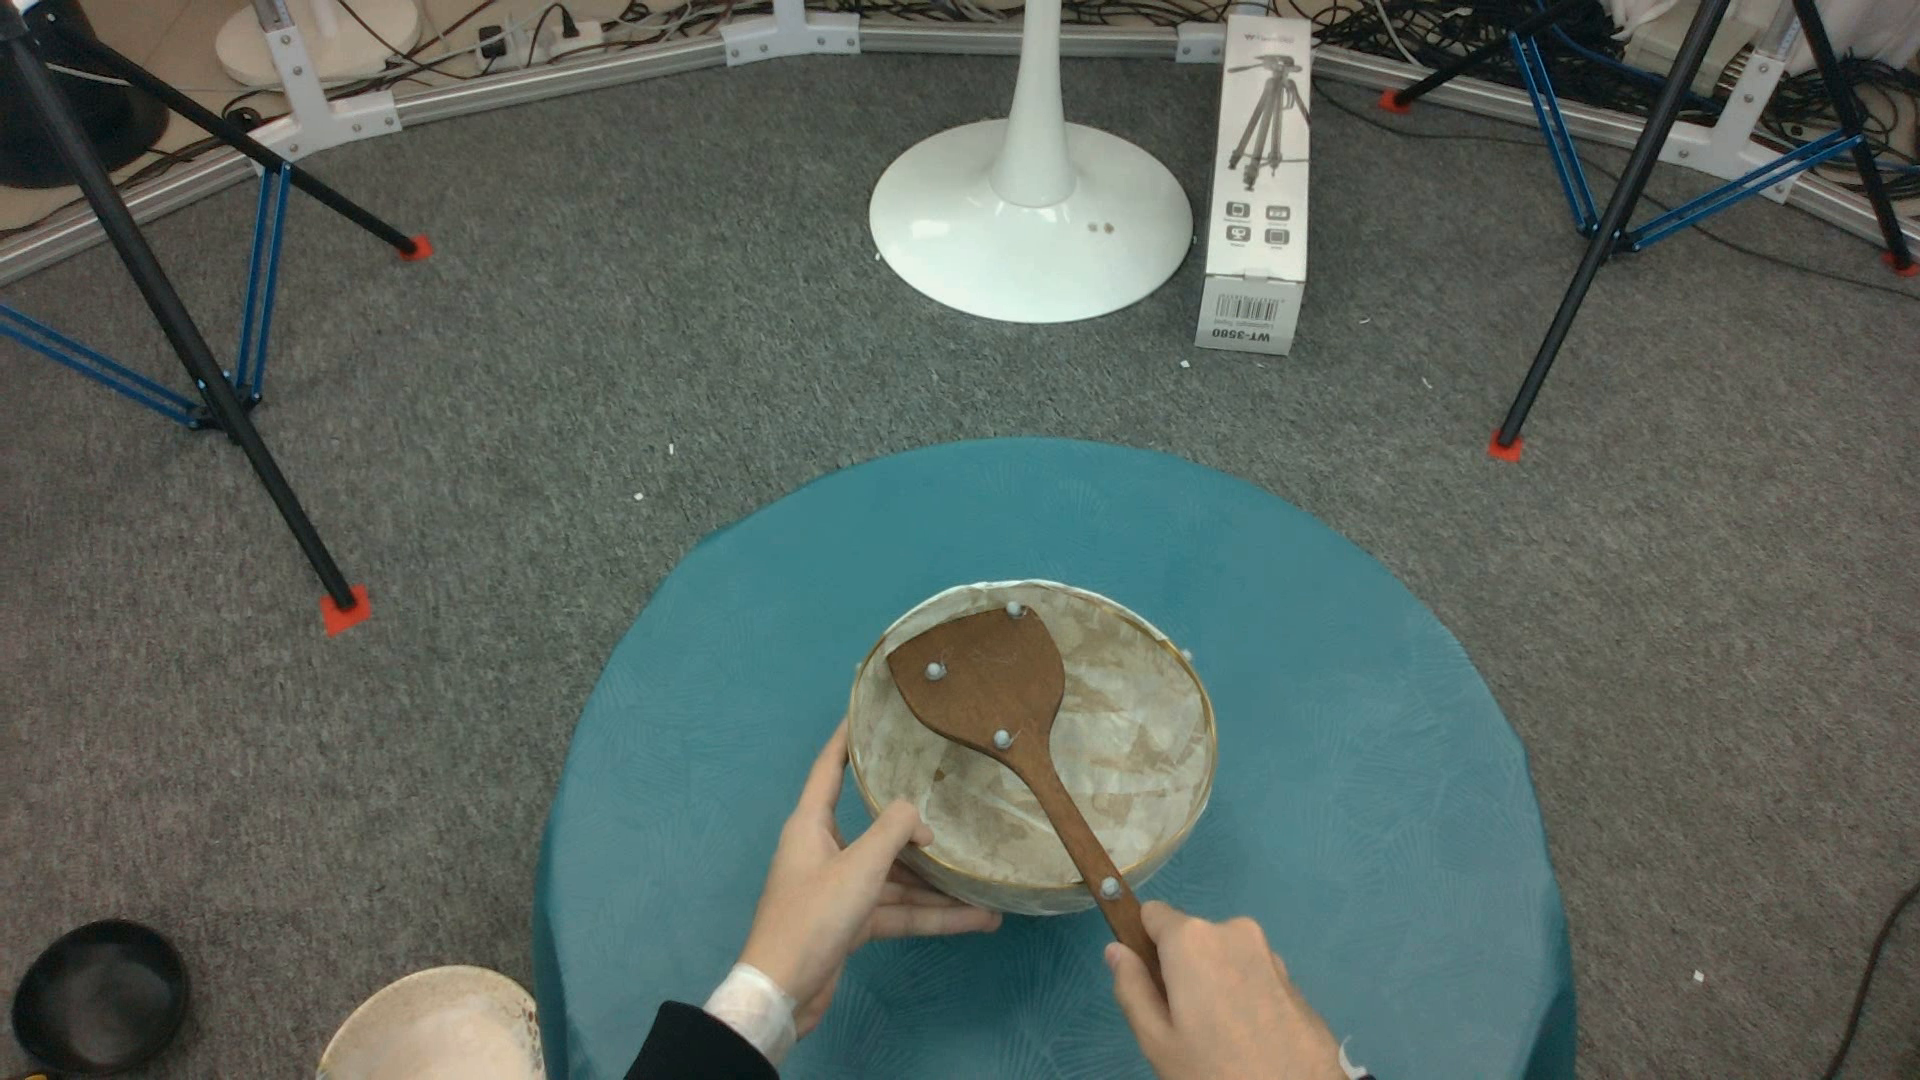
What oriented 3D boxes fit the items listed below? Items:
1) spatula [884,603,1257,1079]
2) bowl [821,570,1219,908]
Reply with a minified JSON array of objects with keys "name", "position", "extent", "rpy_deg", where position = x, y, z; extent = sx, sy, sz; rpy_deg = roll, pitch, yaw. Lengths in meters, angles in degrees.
[{"name":"spatula","position":[0.063,0.154,0.662],"extent":[0.096,0.016,0.387],"rpy_deg":[-17,39,-13]},{"name":"bowl","position":[0.030,0.124,0.764],"extent":[0.215,0.094,0.215],"rpy_deg":[3,47,-4]}]
